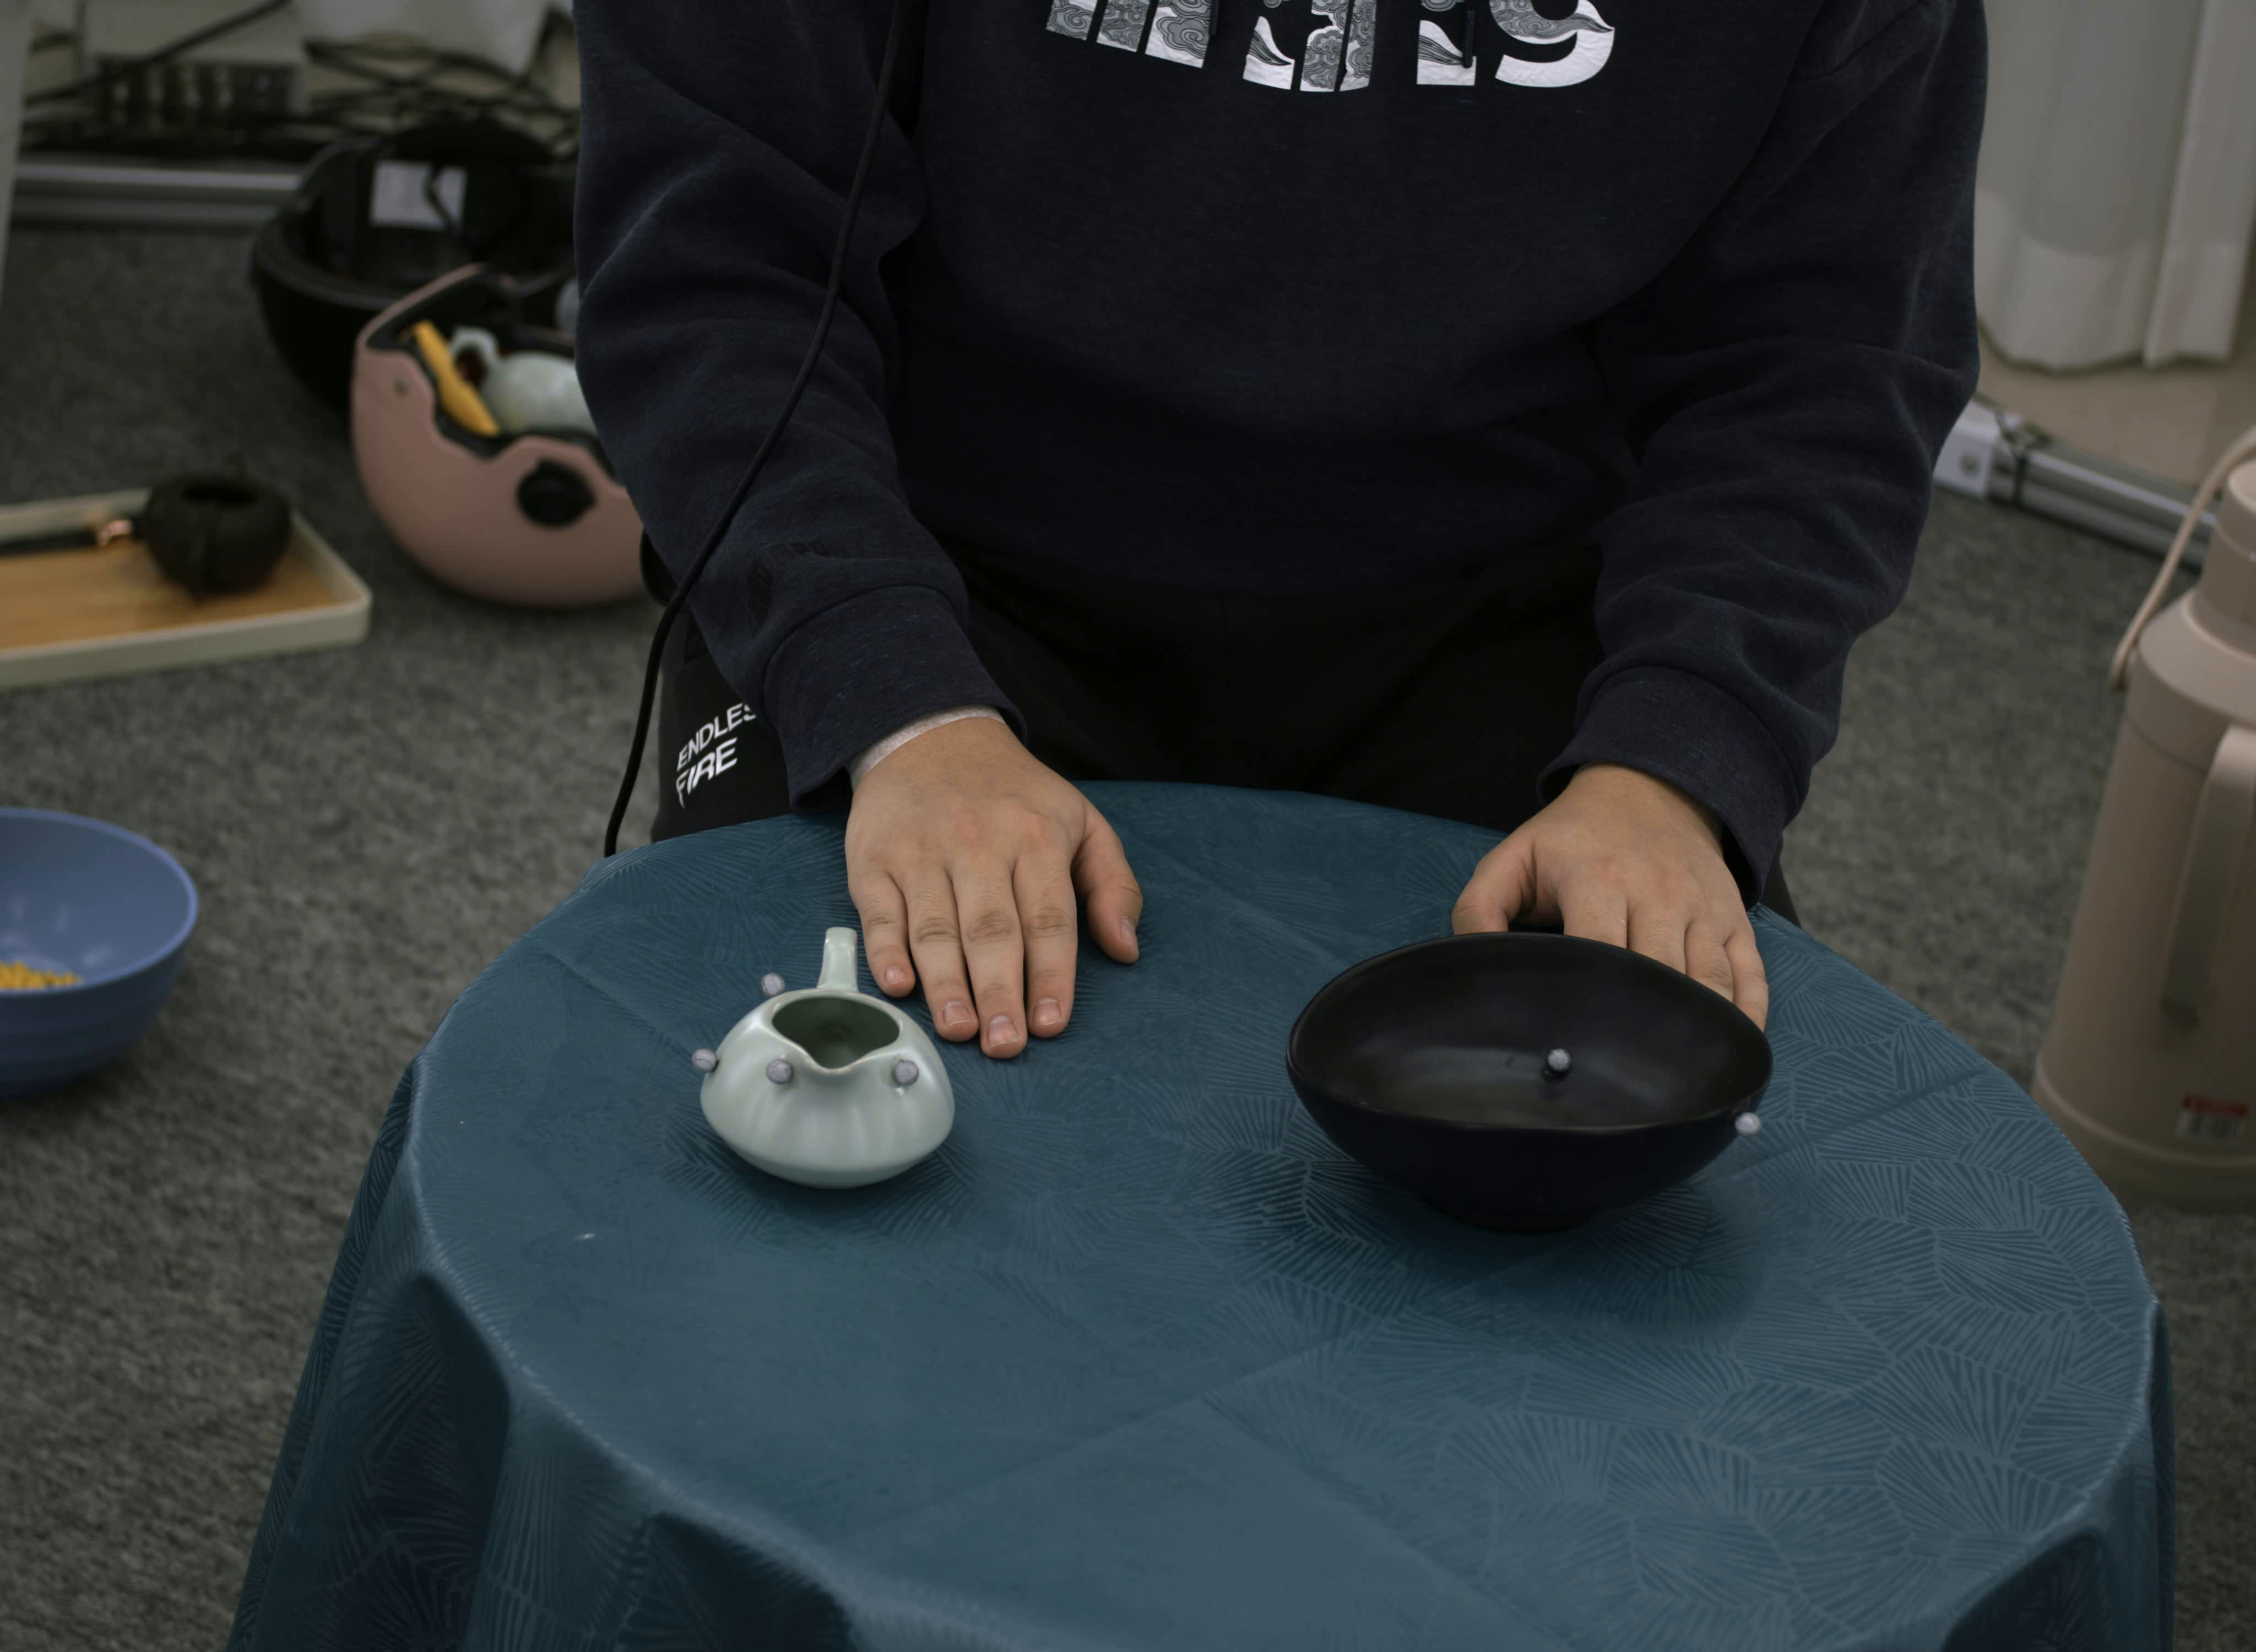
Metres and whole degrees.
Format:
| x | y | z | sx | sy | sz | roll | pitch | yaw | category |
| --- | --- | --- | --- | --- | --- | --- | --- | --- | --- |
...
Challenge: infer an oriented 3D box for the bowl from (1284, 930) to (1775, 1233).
| x | y | z | sx | sy | sz | roll | pitch | yaw | category |
| --- | --- | --- | --- | --- | --- | --- | --- | --- | --- |
| 0.136 | 0.097 | 1.823 | 0.169 | 0.066 | 0.138 | -2 | 27 | -15 | bowl |

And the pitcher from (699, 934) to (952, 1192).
| x | y | z | sx | sy | sz | roll | pitch | yaw | category |
| --- | --- | --- | --- | --- | --- | --- | --- | --- | --- |
| -0.101 | 0.081 | 1.804 | 0.085 | 0.060 | 0.108 | 6 | 25 | -5 | pitcher |
